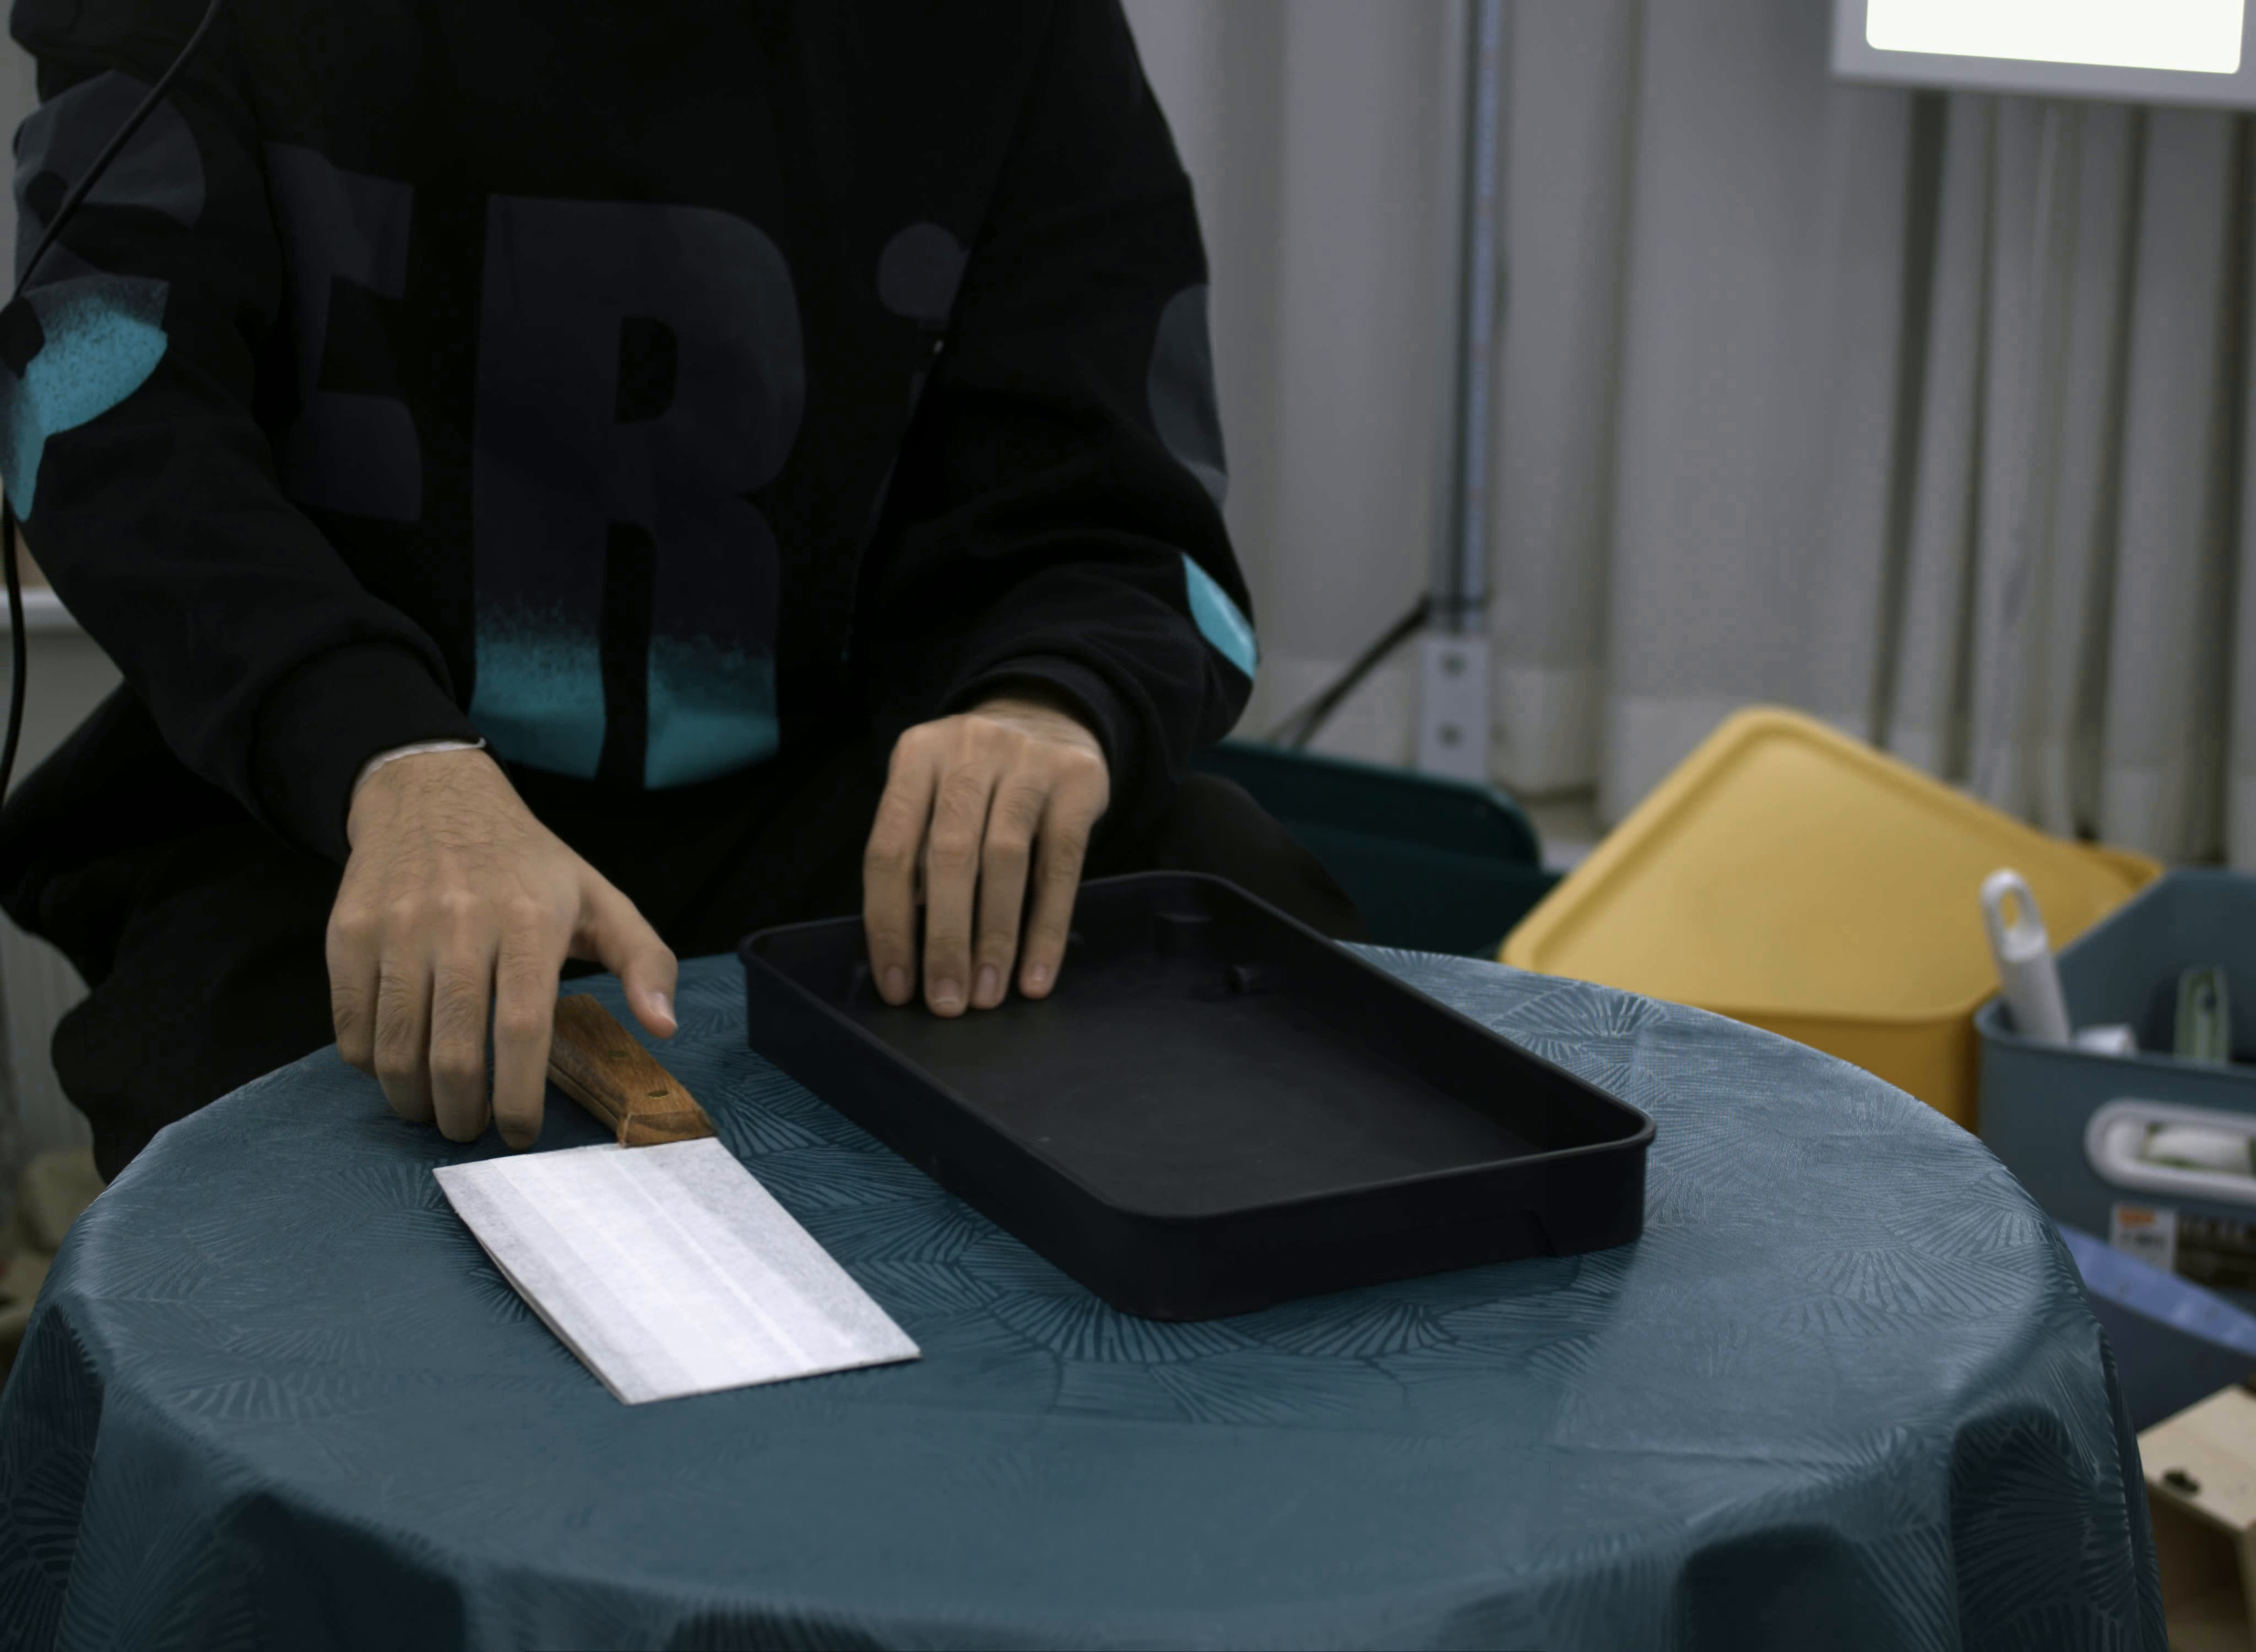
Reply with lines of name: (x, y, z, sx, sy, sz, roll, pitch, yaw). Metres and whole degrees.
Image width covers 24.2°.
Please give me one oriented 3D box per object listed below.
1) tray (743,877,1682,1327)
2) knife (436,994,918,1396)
tray: (0.019, 0.081, 1.667, 0.185, 0.037, 0.314, -8, 18, -27)
knife: (-0.157, 0.110, 1.597, 0.093, 0.021, 0.302, -8, 20, -22)
